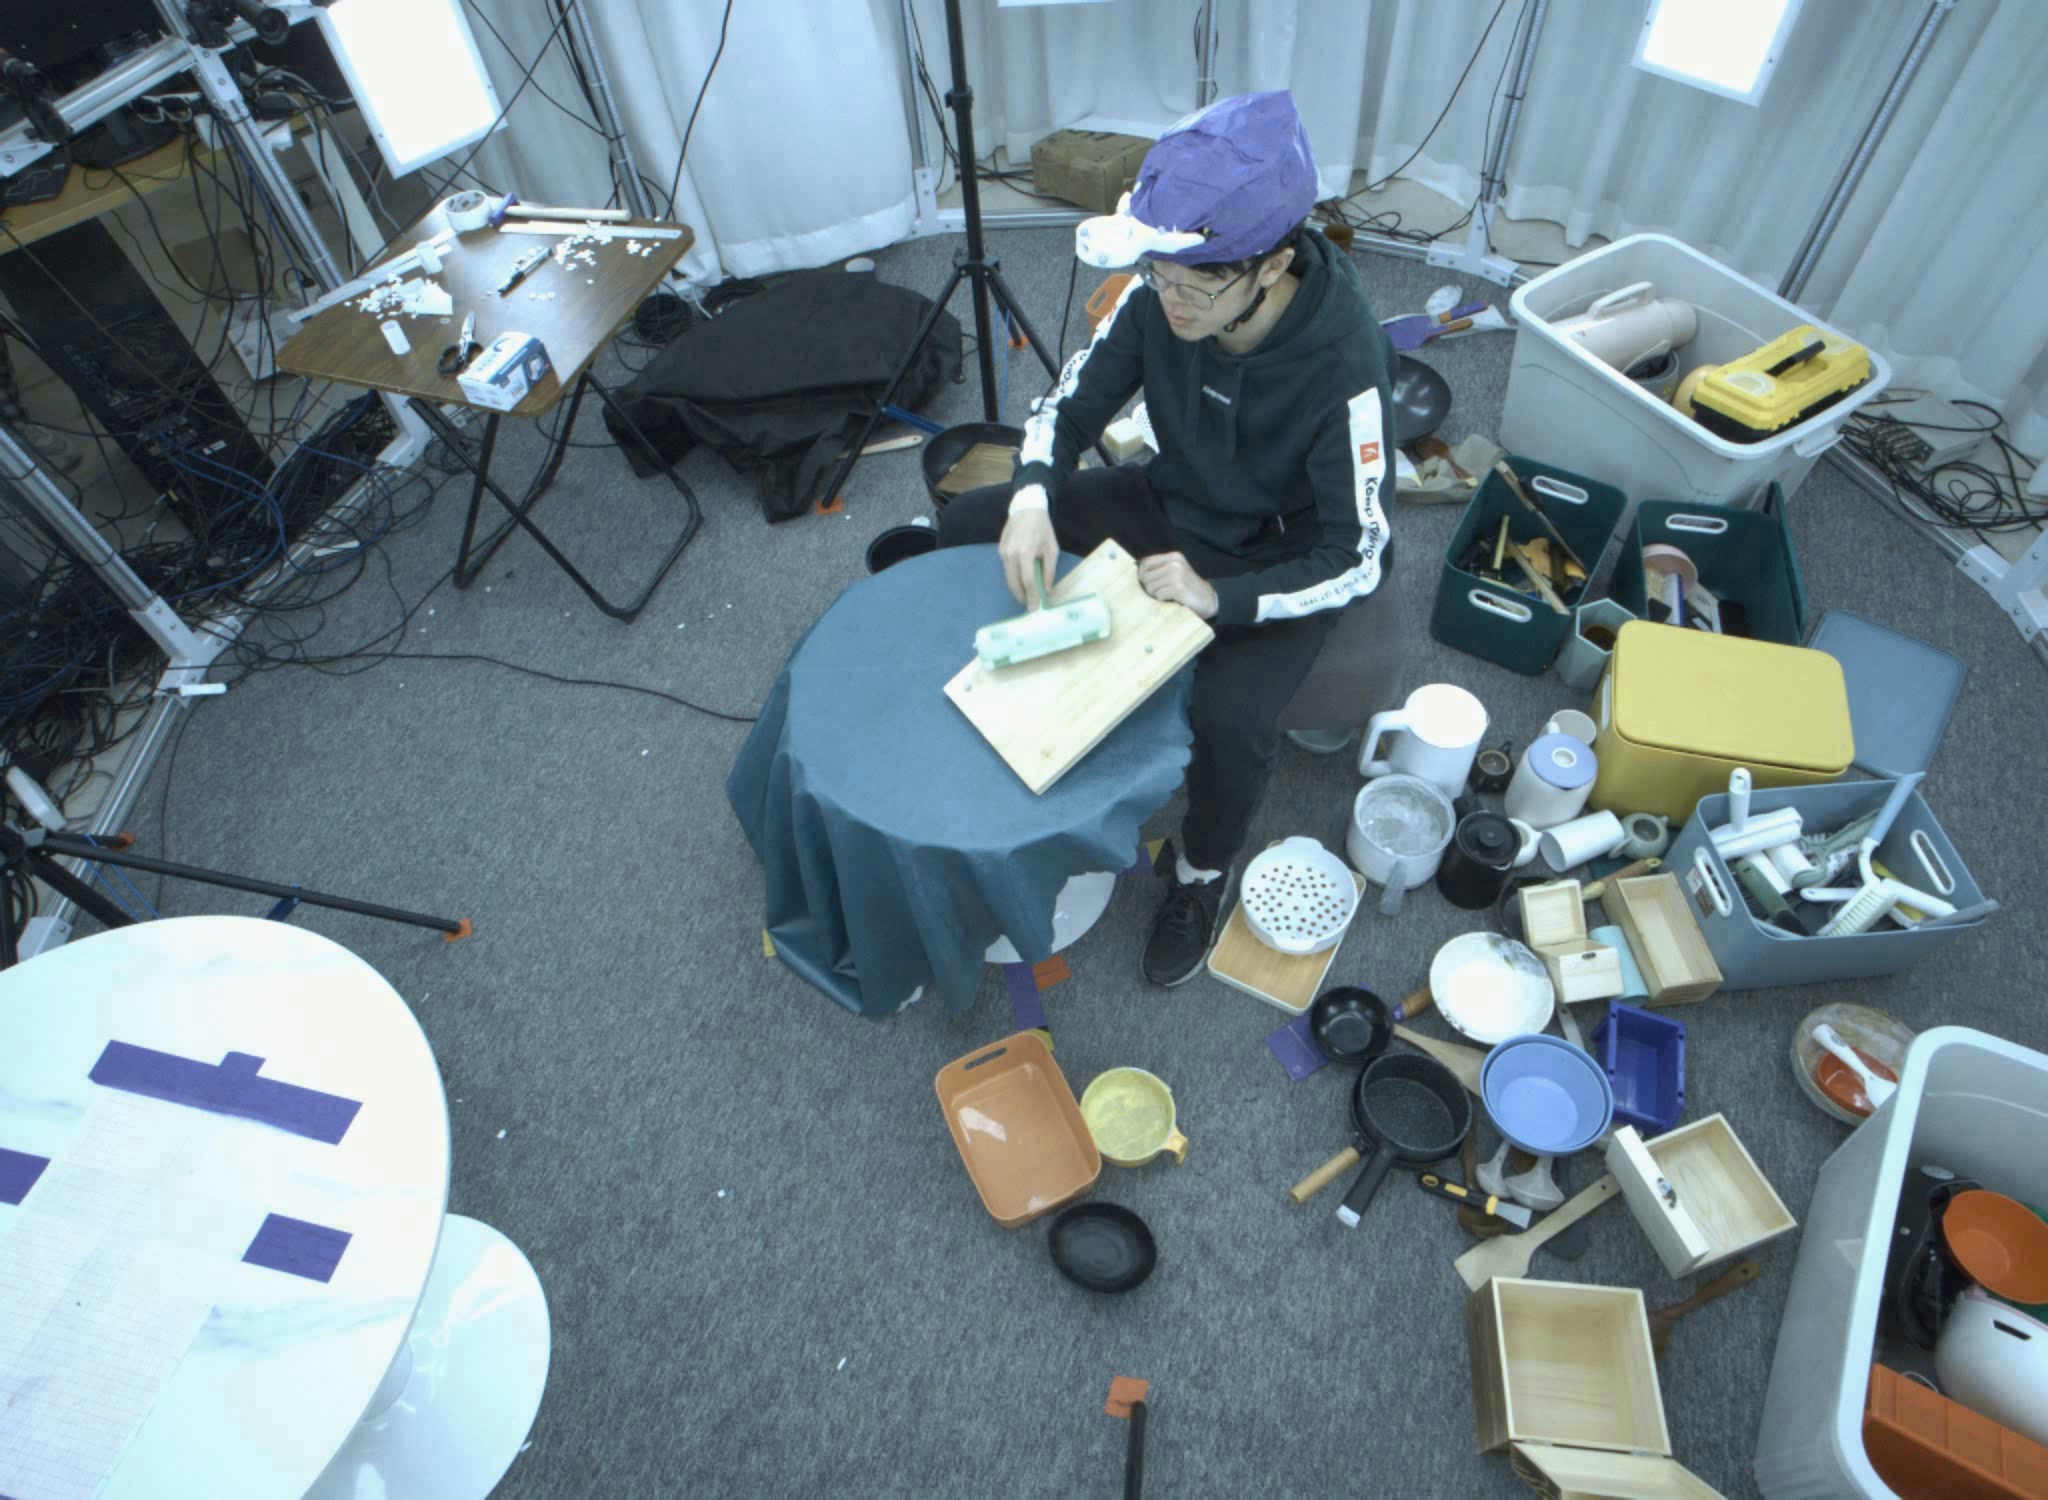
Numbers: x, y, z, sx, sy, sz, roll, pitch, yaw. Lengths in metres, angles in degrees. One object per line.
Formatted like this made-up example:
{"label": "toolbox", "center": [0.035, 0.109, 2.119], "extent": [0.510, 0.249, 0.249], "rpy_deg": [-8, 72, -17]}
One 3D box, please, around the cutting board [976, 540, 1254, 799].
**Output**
{"label": "cutting board", "center": [0.123, -0.122, 1.781], "extent": [0.348, 0.024, 0.246], "rpy_deg": [-41, 61, 0]}

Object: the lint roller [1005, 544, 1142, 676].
{"label": "lint roller", "center": [0.058, -0.214, 1.767], "extent": [0.197, 0.083, 0.183], "rpy_deg": [-12, 86, 15]}
